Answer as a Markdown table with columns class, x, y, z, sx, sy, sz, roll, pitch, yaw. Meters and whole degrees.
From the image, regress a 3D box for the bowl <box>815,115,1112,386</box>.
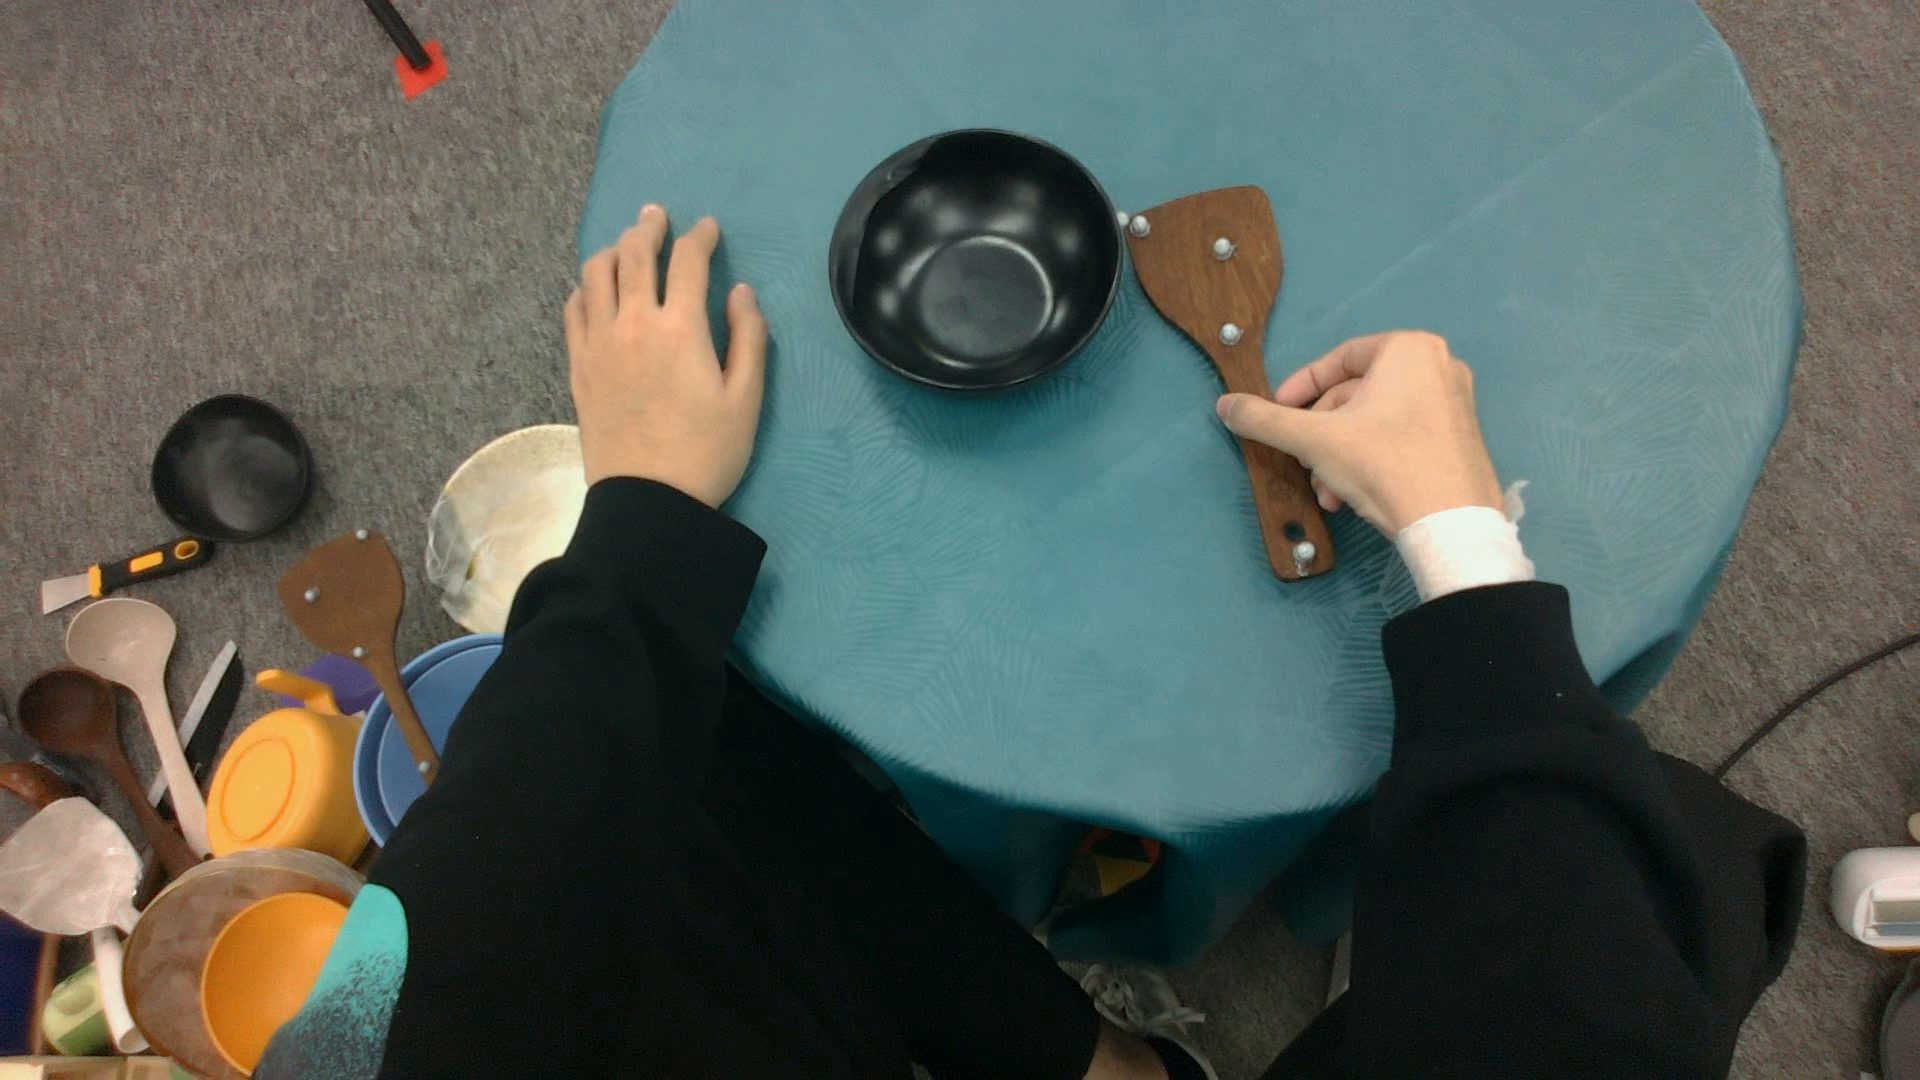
| class | x | y | z | sx | sy | sz | roll | pitch | yaw |
| --- | --- | --- | --- | --- | --- | --- | --- | --- | --- |
| bowl | 0.002 | -0.132 | 0.663 | 0.140 | 0.049 | 0.140 | -1 | 72 | 2 |

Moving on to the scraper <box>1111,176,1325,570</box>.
| class | x | y | z | sx | sy | sz | roll | pitch | yaw |
| --- | --- | --- | --- | --- | --- | --- | --- | --- | --- |
| scraper | 0.129 | -0.082 | 0.649 | 0.076 | 0.011 | 0.212 | -12 | 65 | 2 |
